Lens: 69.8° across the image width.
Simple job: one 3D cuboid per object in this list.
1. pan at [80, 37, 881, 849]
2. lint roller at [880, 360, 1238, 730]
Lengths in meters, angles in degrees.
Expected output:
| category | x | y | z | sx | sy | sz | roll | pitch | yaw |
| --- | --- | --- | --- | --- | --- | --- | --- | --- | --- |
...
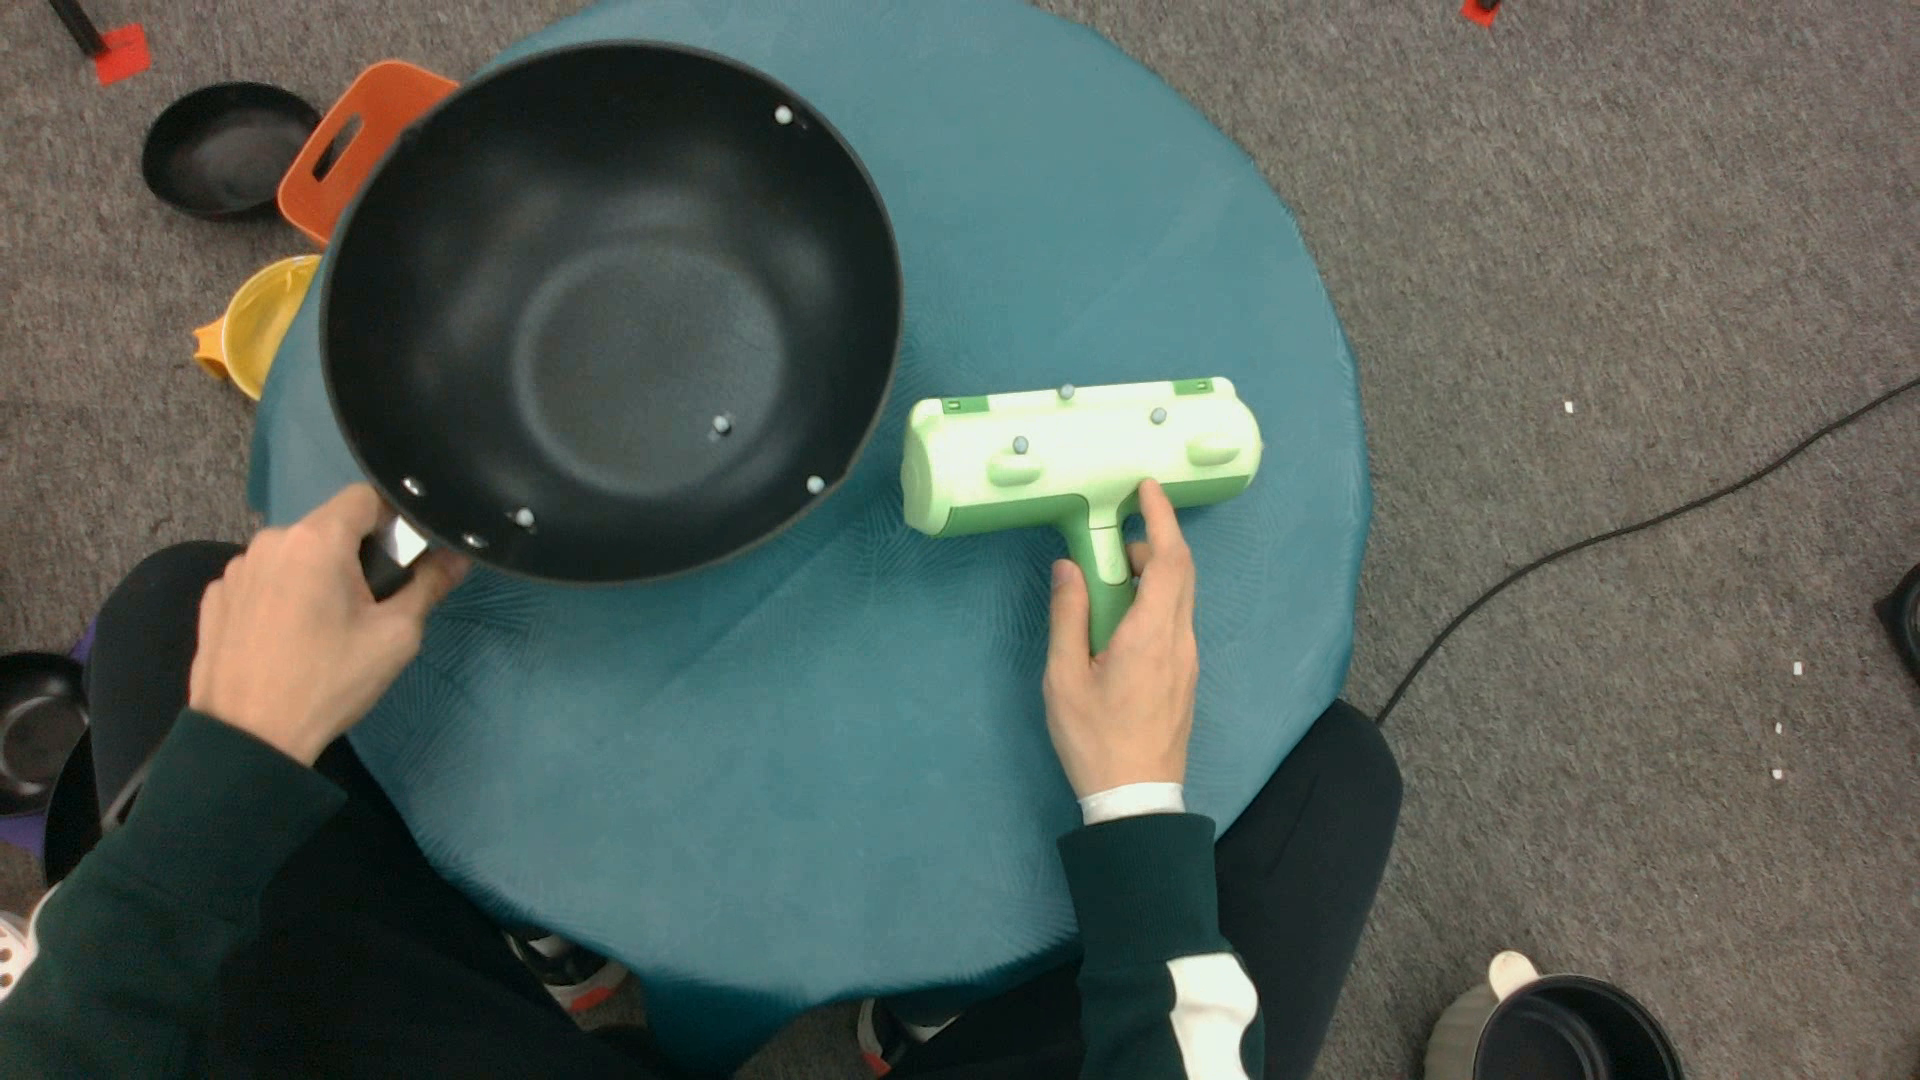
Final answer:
| category | x | y | z | sx | sy | sz | roll | pitch | yaw |
| --- | --- | --- | --- | --- | --- | --- | --- | --- | --- |
| pan | -0.232 | -0.037 | 0.677 | 0.288 | 0.086 | 0.464 | 36 | 80 | 10 |
| lint roller | 0.070 | 0.001 | 0.696 | 0.199 | 0.082 | 0.183 | -8 | 77 | -26 |
